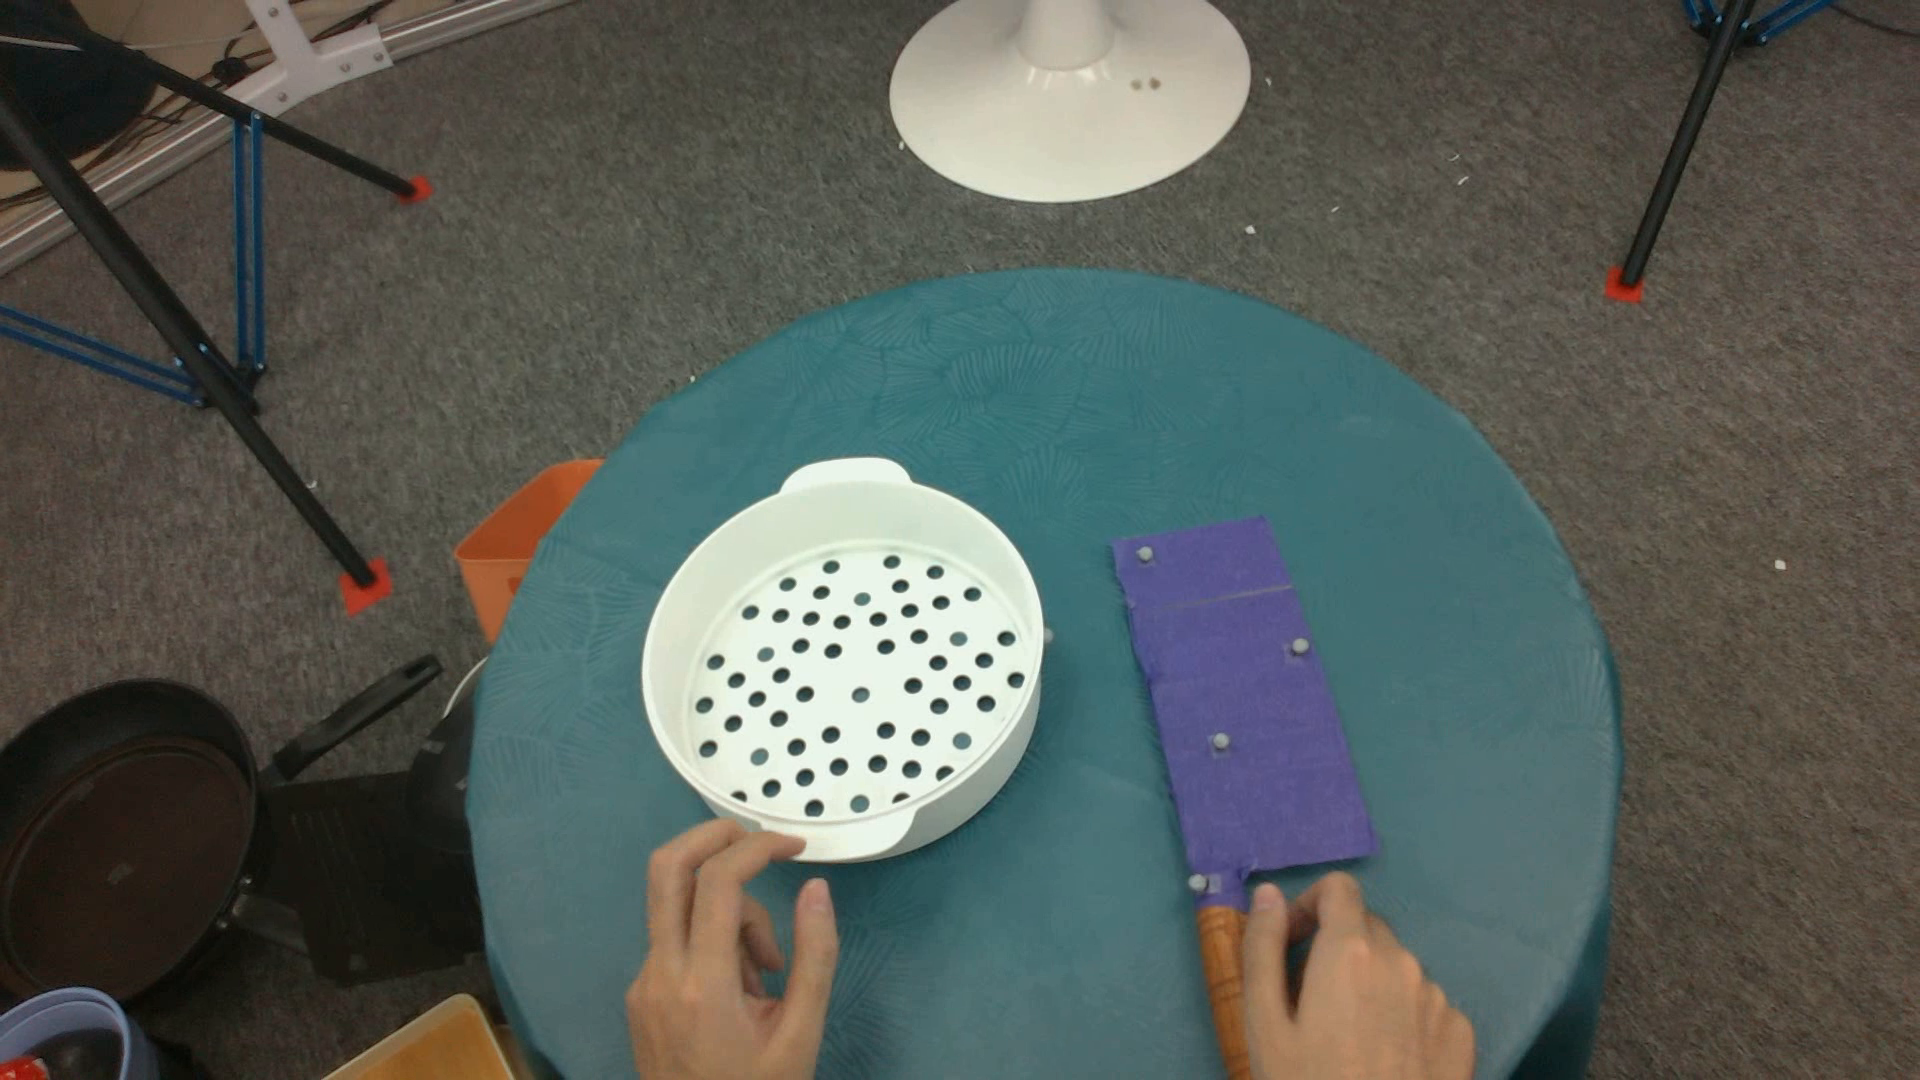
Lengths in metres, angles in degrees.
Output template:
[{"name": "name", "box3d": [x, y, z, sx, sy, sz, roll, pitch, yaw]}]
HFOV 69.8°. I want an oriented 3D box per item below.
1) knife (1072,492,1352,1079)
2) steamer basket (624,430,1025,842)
[{"name": "knife", "box3d": [0.137, 0.100, 0.681, 0.104, 0.032, 0.316, -10, 55, -1]}, {"name": "steamer basket", "box3d": [-0.066, 0.053, 0.711, 0.202, 0.069, 0.231, -5, 58, 3]}]
